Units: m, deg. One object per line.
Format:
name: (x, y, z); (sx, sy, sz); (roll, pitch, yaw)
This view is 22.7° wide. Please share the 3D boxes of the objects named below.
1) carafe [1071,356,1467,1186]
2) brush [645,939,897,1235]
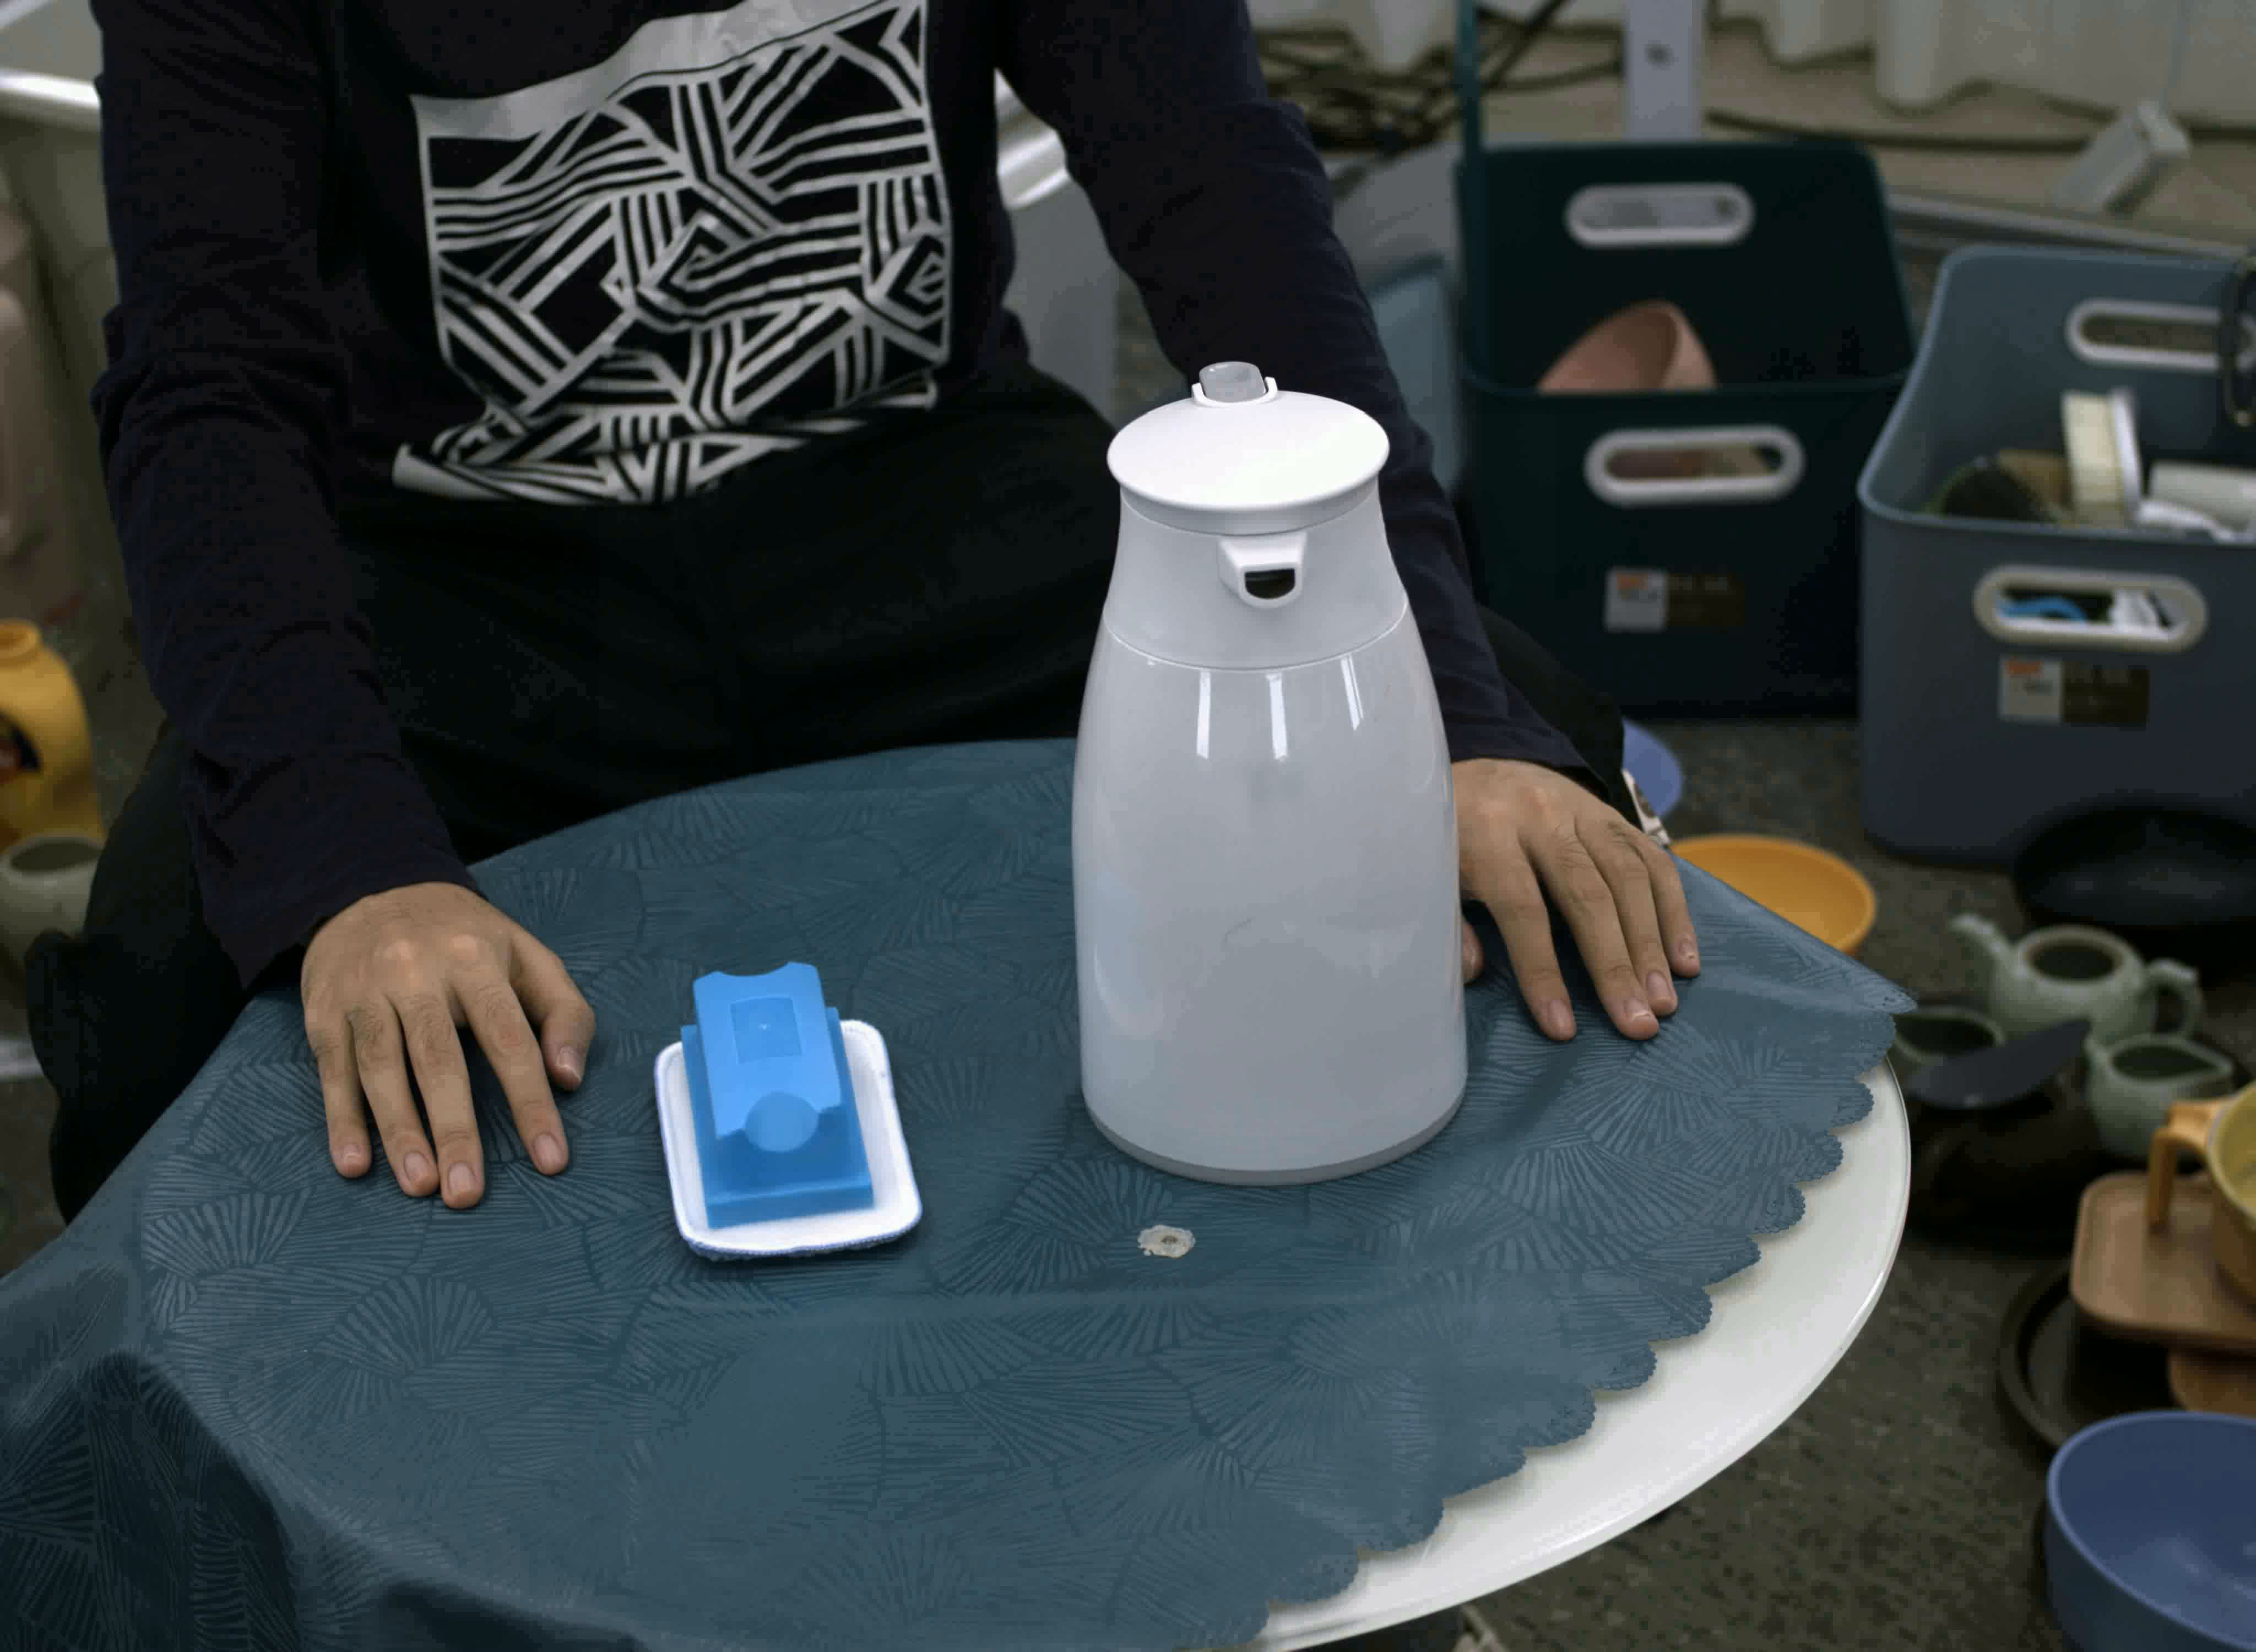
carafe: (0.041, -0.029, 1.879); (0.132, 0.246, 0.170); (-6, 25, -5)
brush: (-0.119, 0.083, 1.880); (0.083, 0.055, 0.146); (-2, 29, -6)
